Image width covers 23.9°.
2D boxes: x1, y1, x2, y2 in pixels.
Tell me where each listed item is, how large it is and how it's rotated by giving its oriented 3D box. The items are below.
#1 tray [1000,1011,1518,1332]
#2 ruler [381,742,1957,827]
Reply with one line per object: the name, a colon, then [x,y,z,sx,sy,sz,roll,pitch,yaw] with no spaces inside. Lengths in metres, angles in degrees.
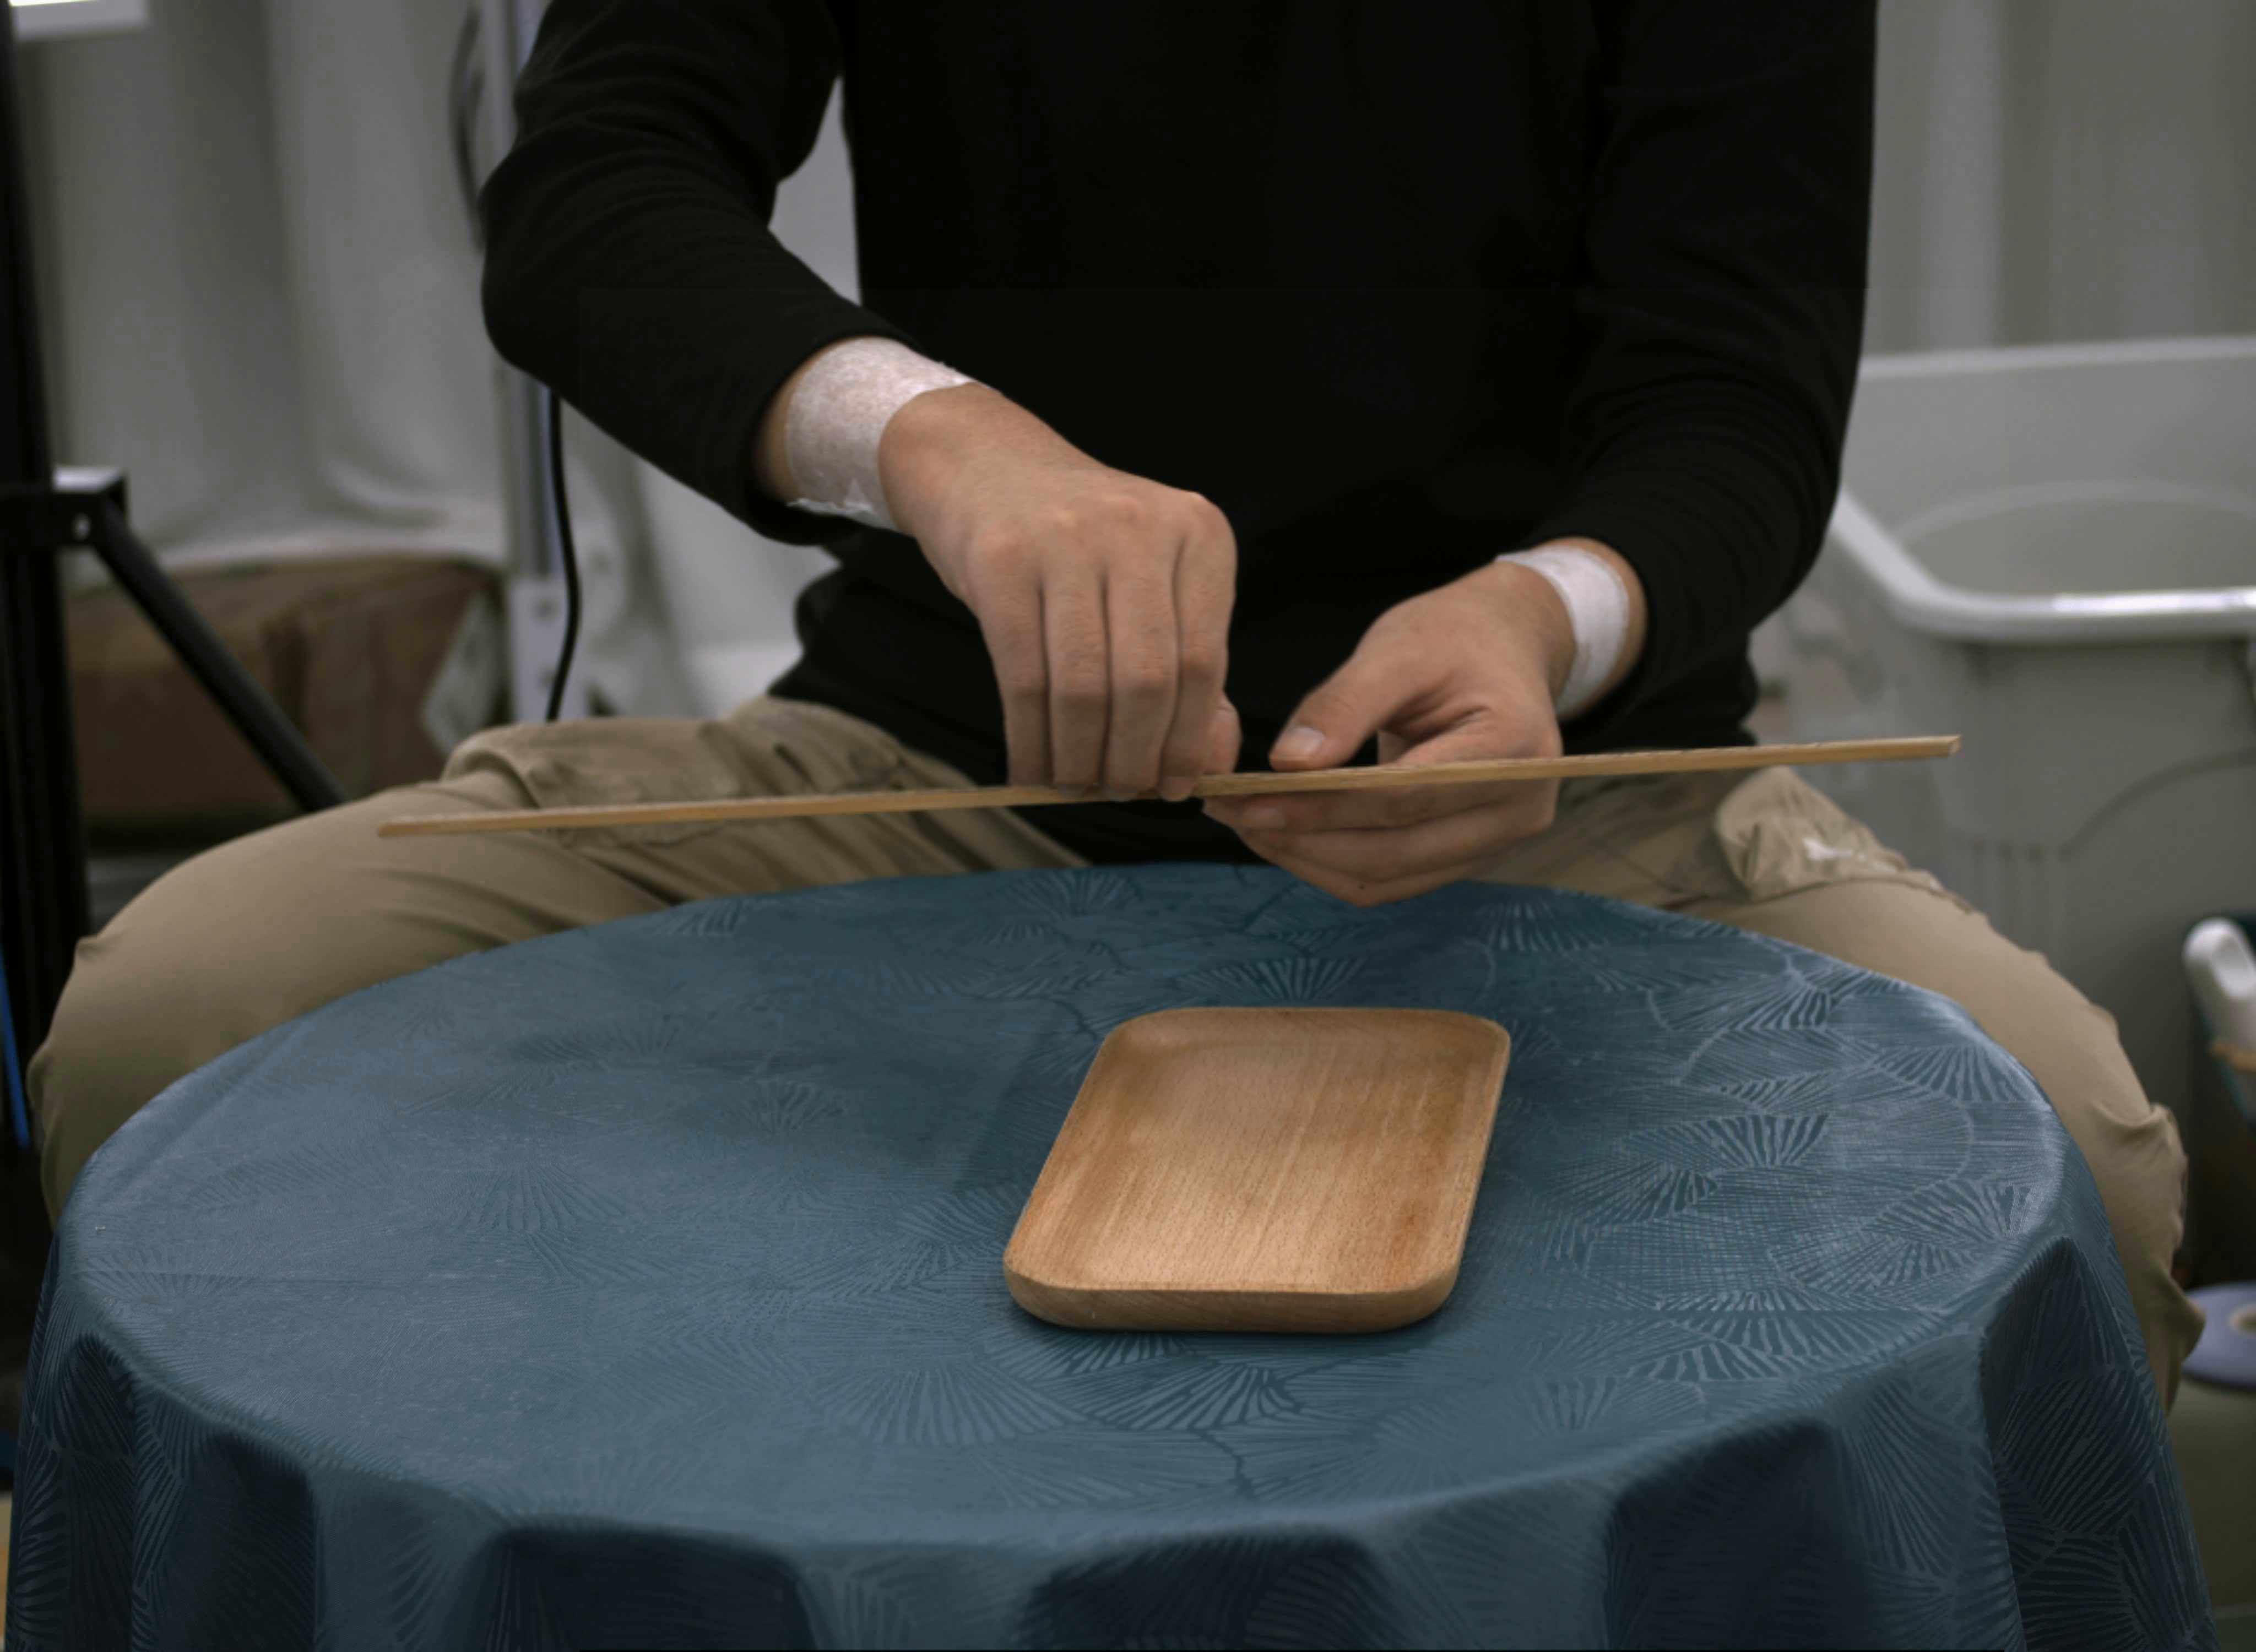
tray: [0.043,0.099,1.555,0.131,0.023,0.249,2,15,10]
ruler: [0.002,-0.011,1.611,0.506,0.006,0.026,-2,0,22]
